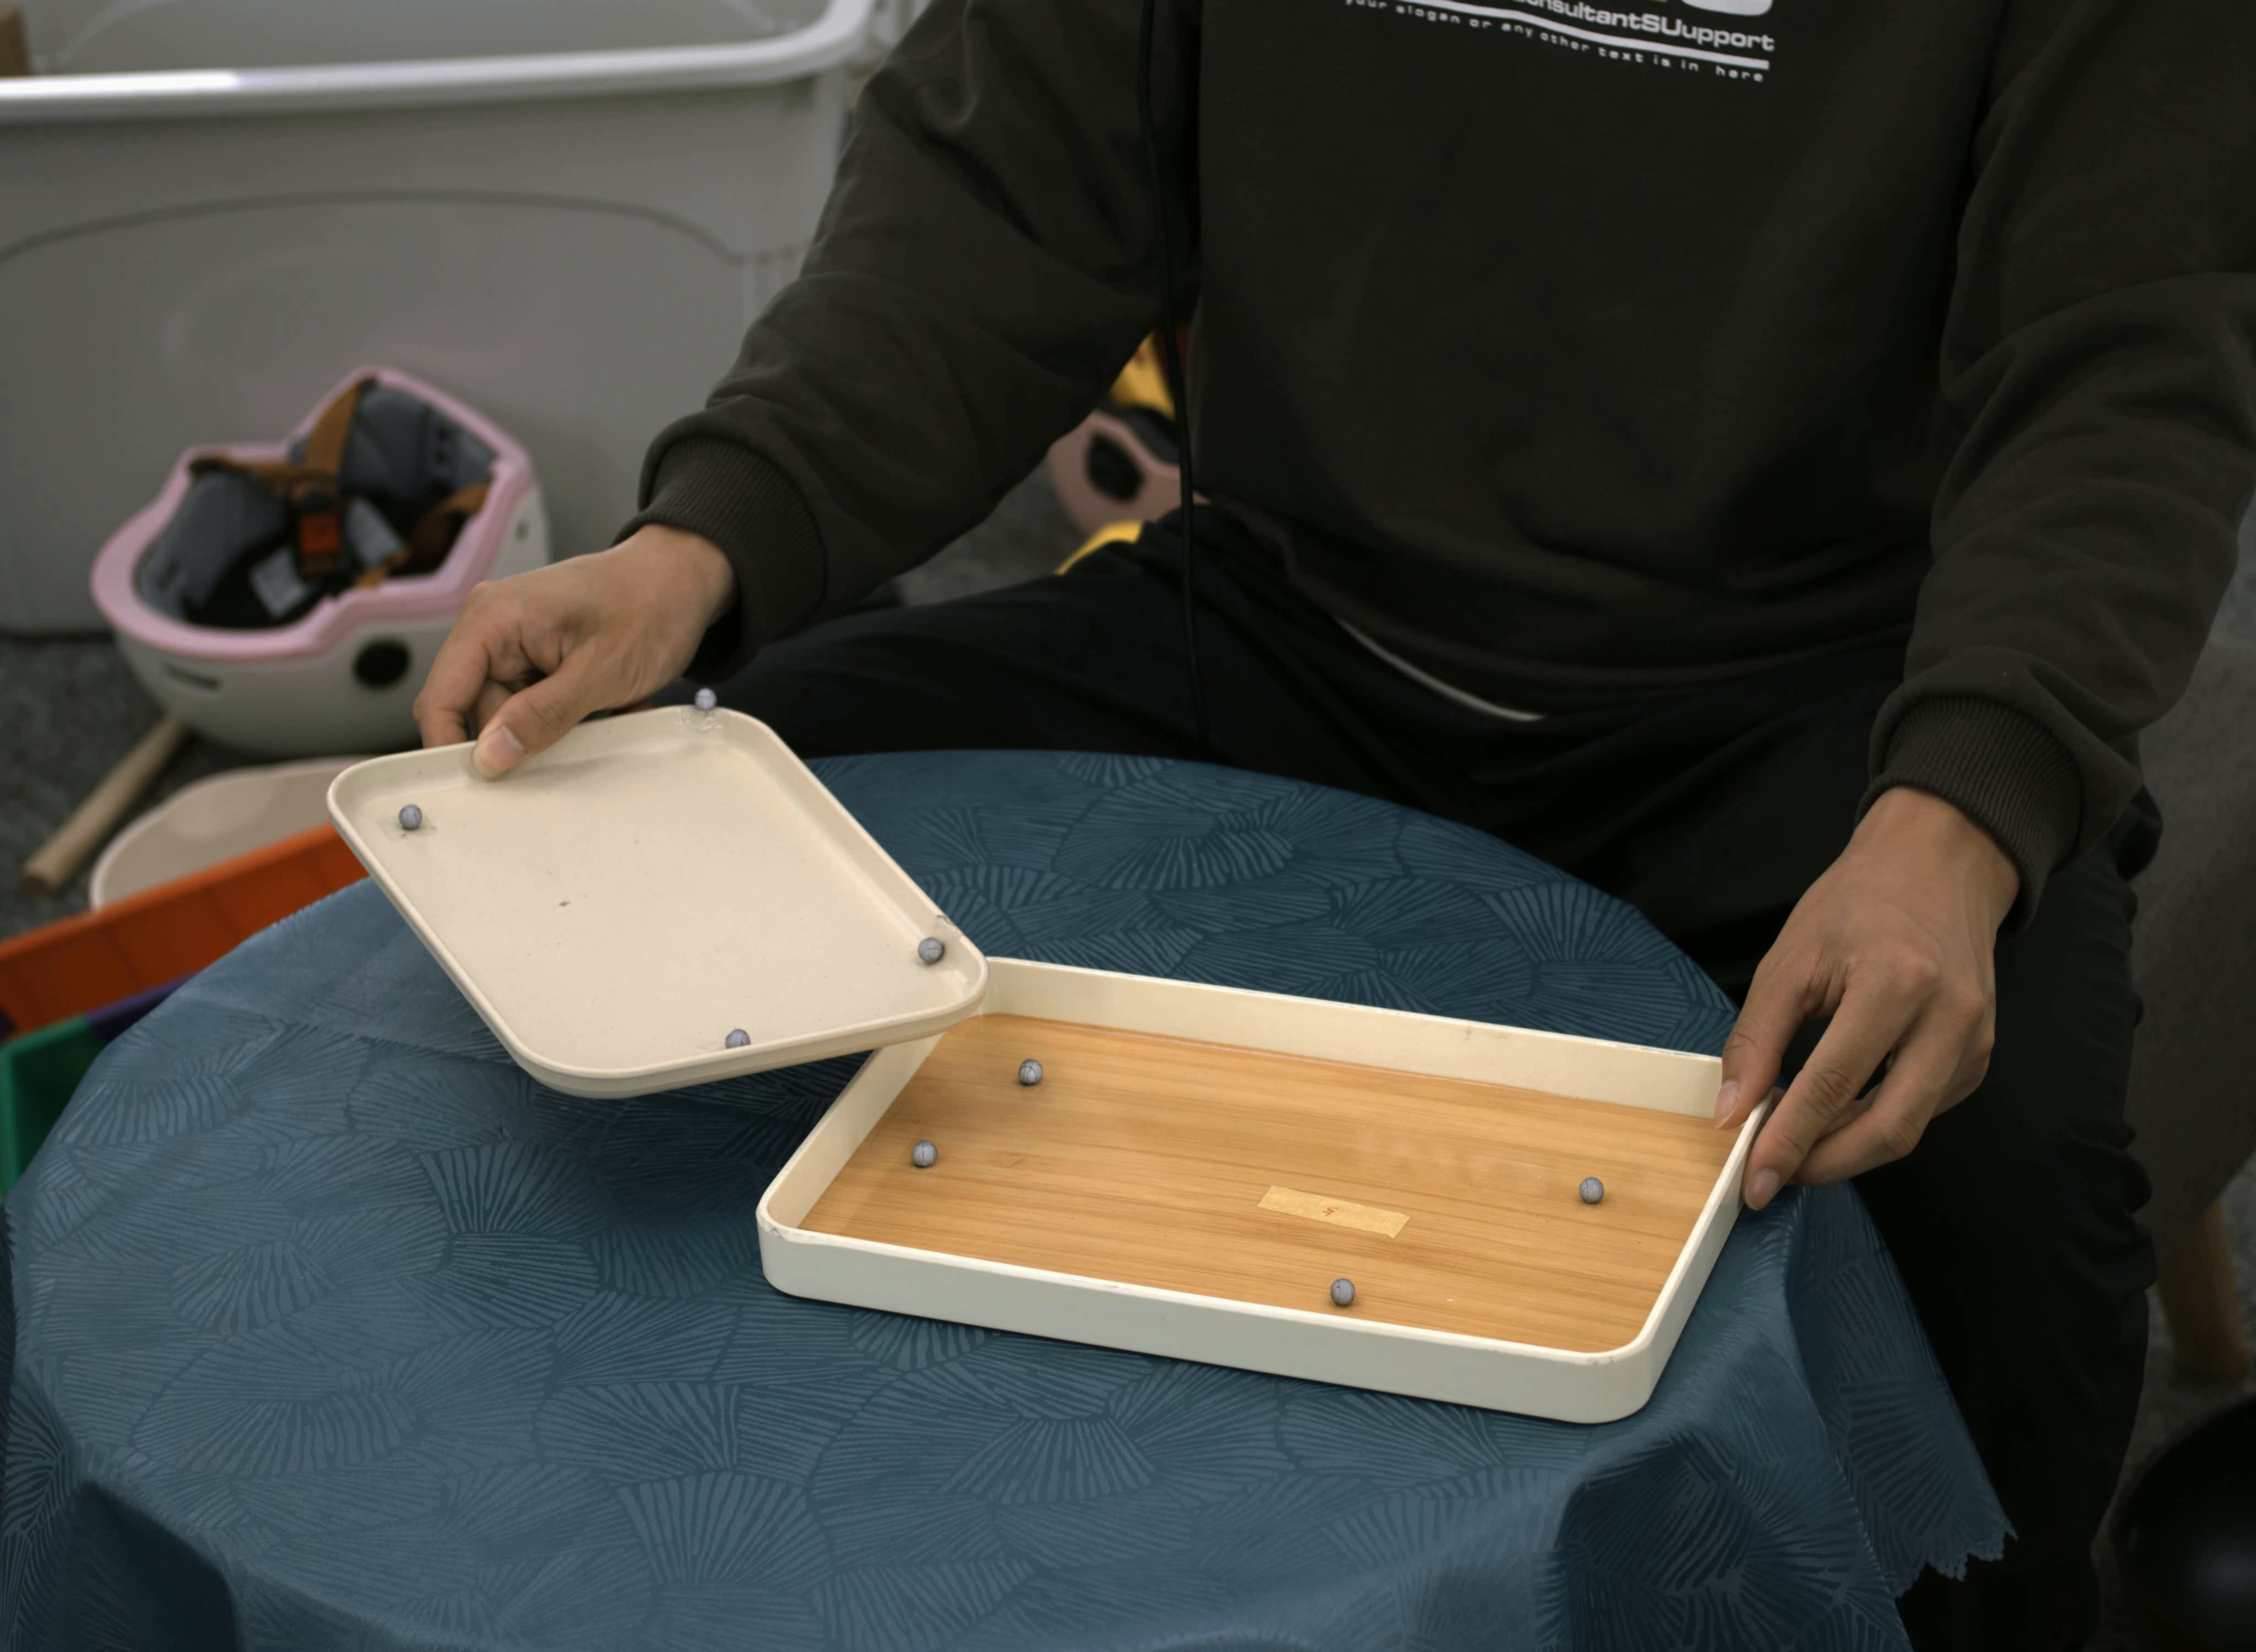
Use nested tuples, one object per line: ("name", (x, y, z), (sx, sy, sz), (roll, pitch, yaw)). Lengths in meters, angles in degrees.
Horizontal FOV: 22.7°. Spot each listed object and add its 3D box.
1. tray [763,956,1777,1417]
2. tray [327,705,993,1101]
("tray", (0.048, 0.115, 1.846), (0.298, 0.027, 0.195), (7, 29, 18))
("tray", (-0.164, 0.025, 1.937), (0.172, 0.017, 0.241), (-11, 31, -25))
